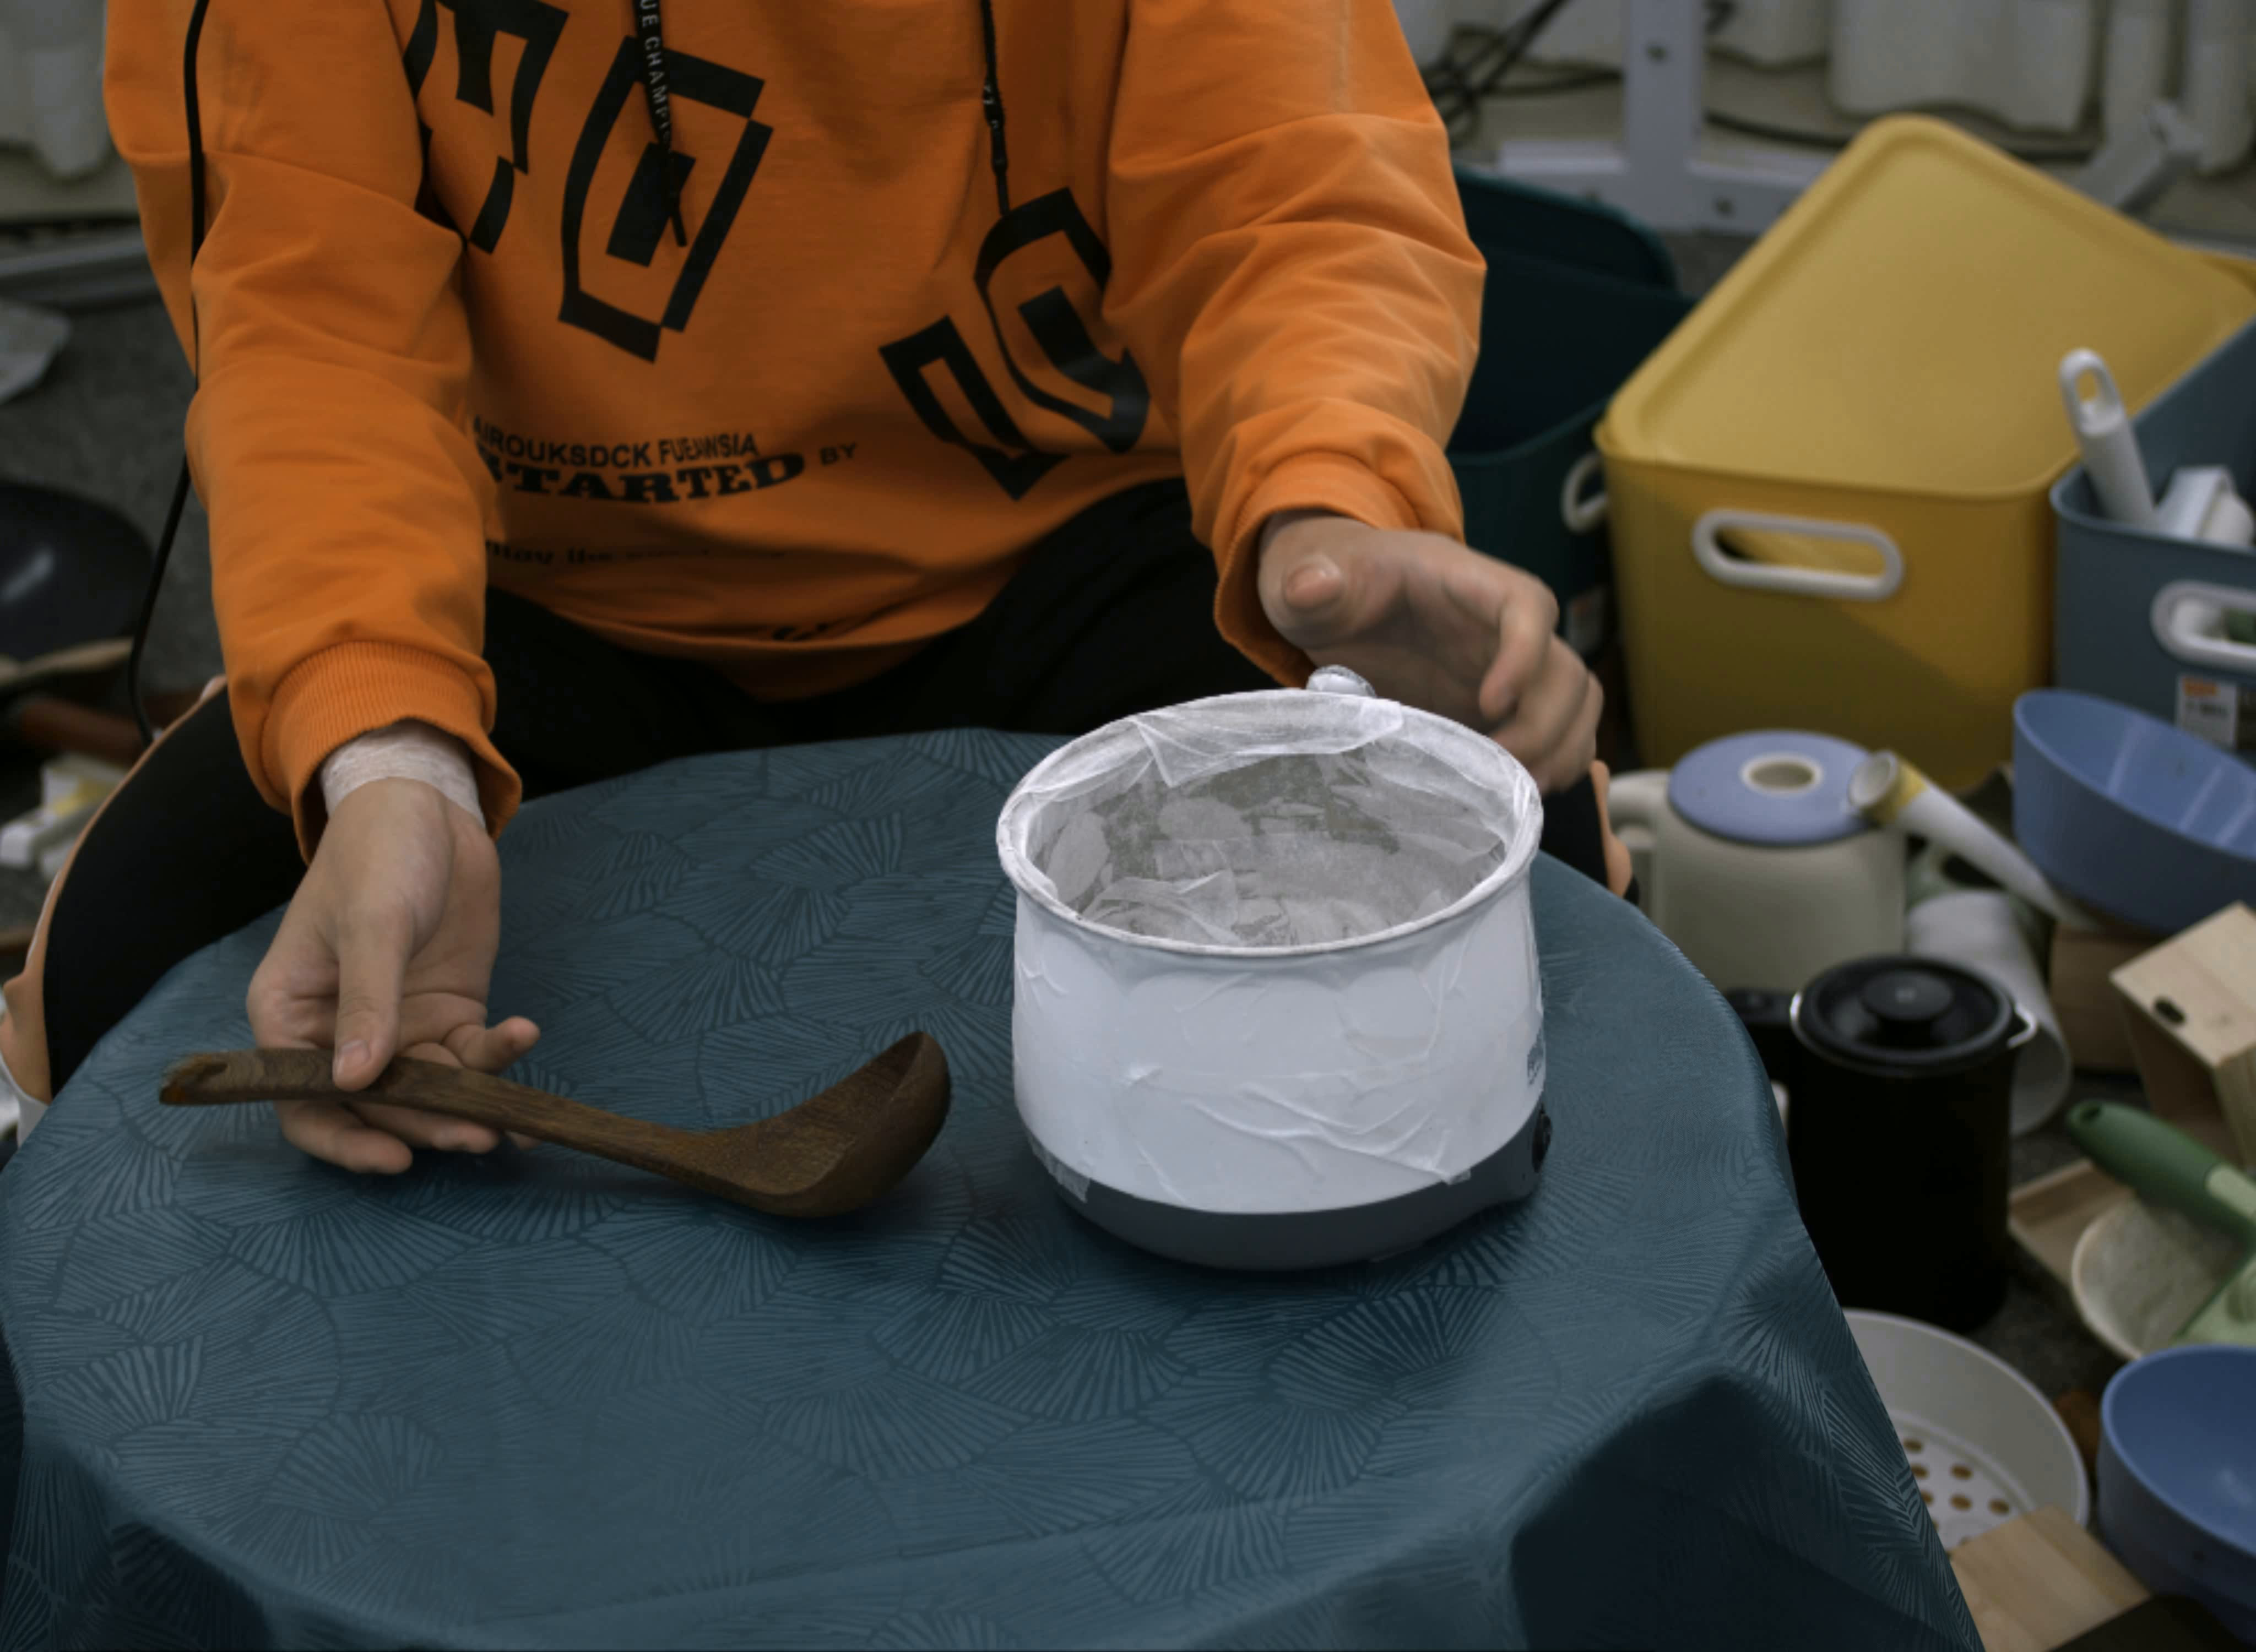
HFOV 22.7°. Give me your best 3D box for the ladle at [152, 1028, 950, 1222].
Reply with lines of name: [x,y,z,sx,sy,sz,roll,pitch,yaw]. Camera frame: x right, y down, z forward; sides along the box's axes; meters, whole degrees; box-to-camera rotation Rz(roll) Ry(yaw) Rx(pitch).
ladle: [-0.193,0.082,1.866,0.272,0.070,0.077,10,27,9]

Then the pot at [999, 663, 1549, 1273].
pot: [0.055,0.040,1.868,0.177,0.135,0.238,4,28,12]
